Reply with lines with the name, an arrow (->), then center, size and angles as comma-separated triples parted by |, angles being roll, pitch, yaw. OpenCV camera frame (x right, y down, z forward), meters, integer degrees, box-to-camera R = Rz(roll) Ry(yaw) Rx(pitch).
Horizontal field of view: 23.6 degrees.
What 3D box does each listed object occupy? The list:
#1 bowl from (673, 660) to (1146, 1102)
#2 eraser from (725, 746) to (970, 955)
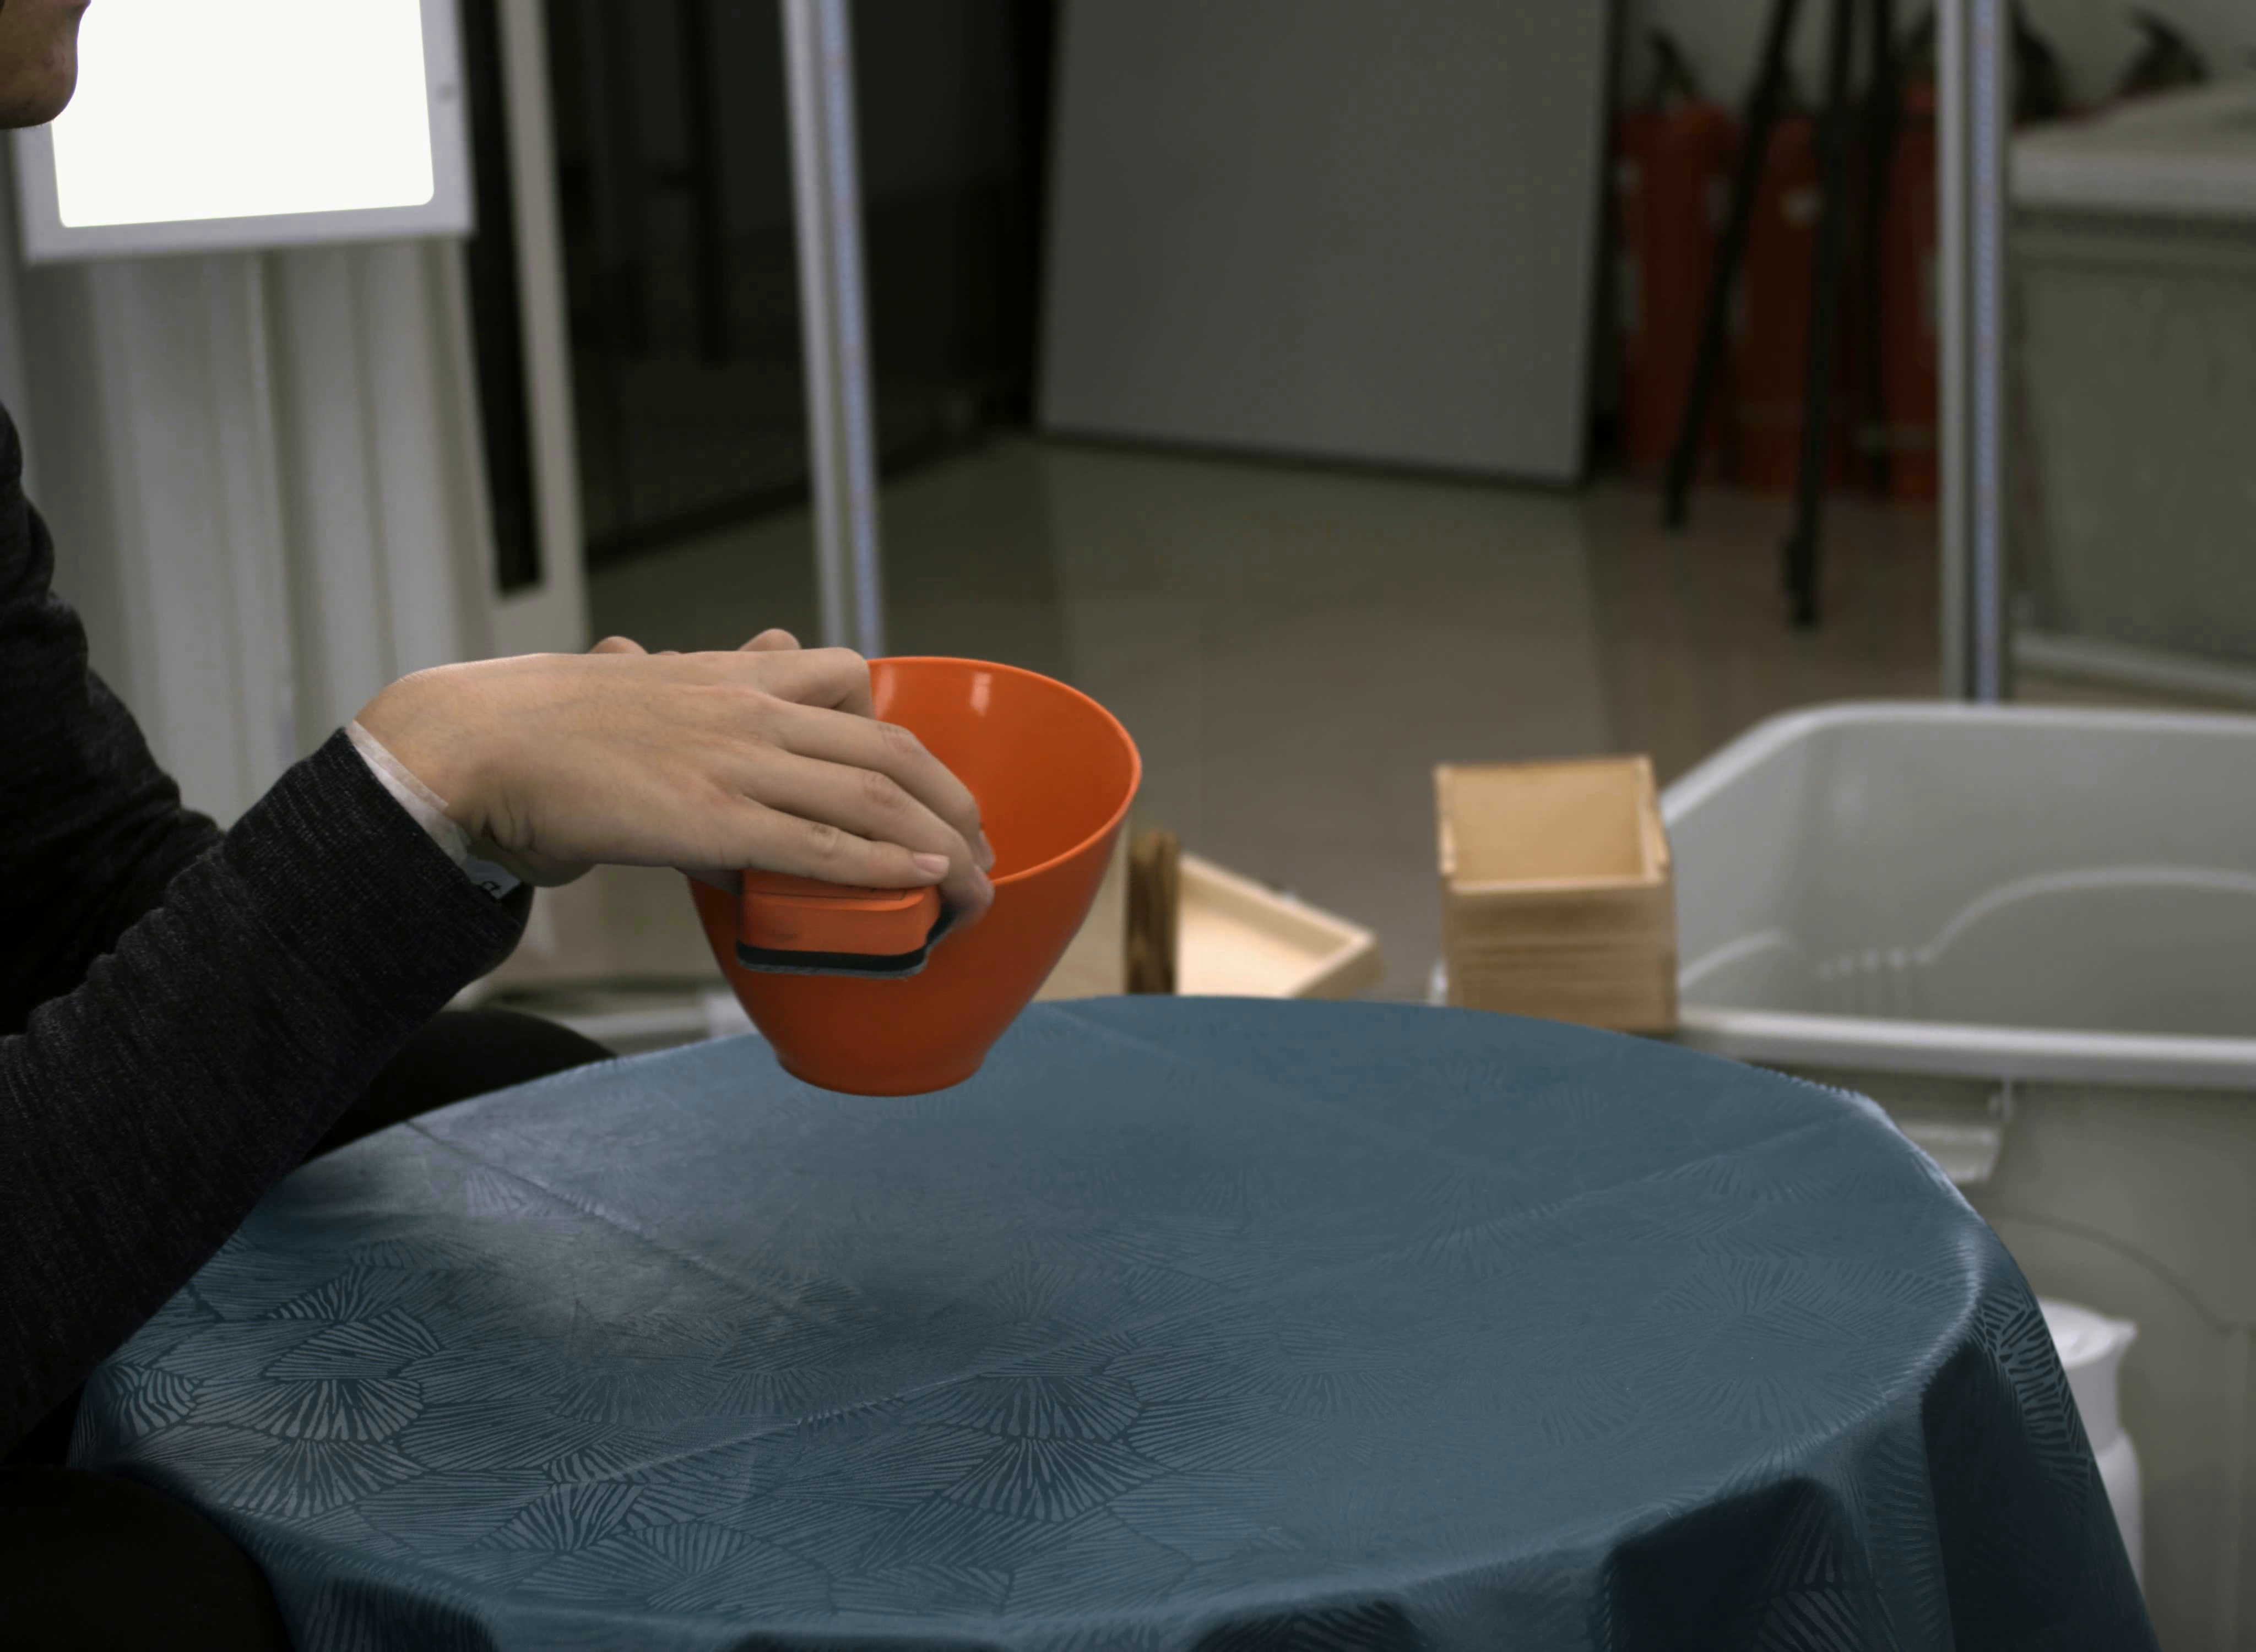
bowl -> -0.069, 0.021, 1.678 | 0.146, 0.106, 0.148 | 2, 20, -2
eraser -> -0.081, 0.006, 1.592 | 0.058, 0.023, 0.108 | 3, 22, 8
